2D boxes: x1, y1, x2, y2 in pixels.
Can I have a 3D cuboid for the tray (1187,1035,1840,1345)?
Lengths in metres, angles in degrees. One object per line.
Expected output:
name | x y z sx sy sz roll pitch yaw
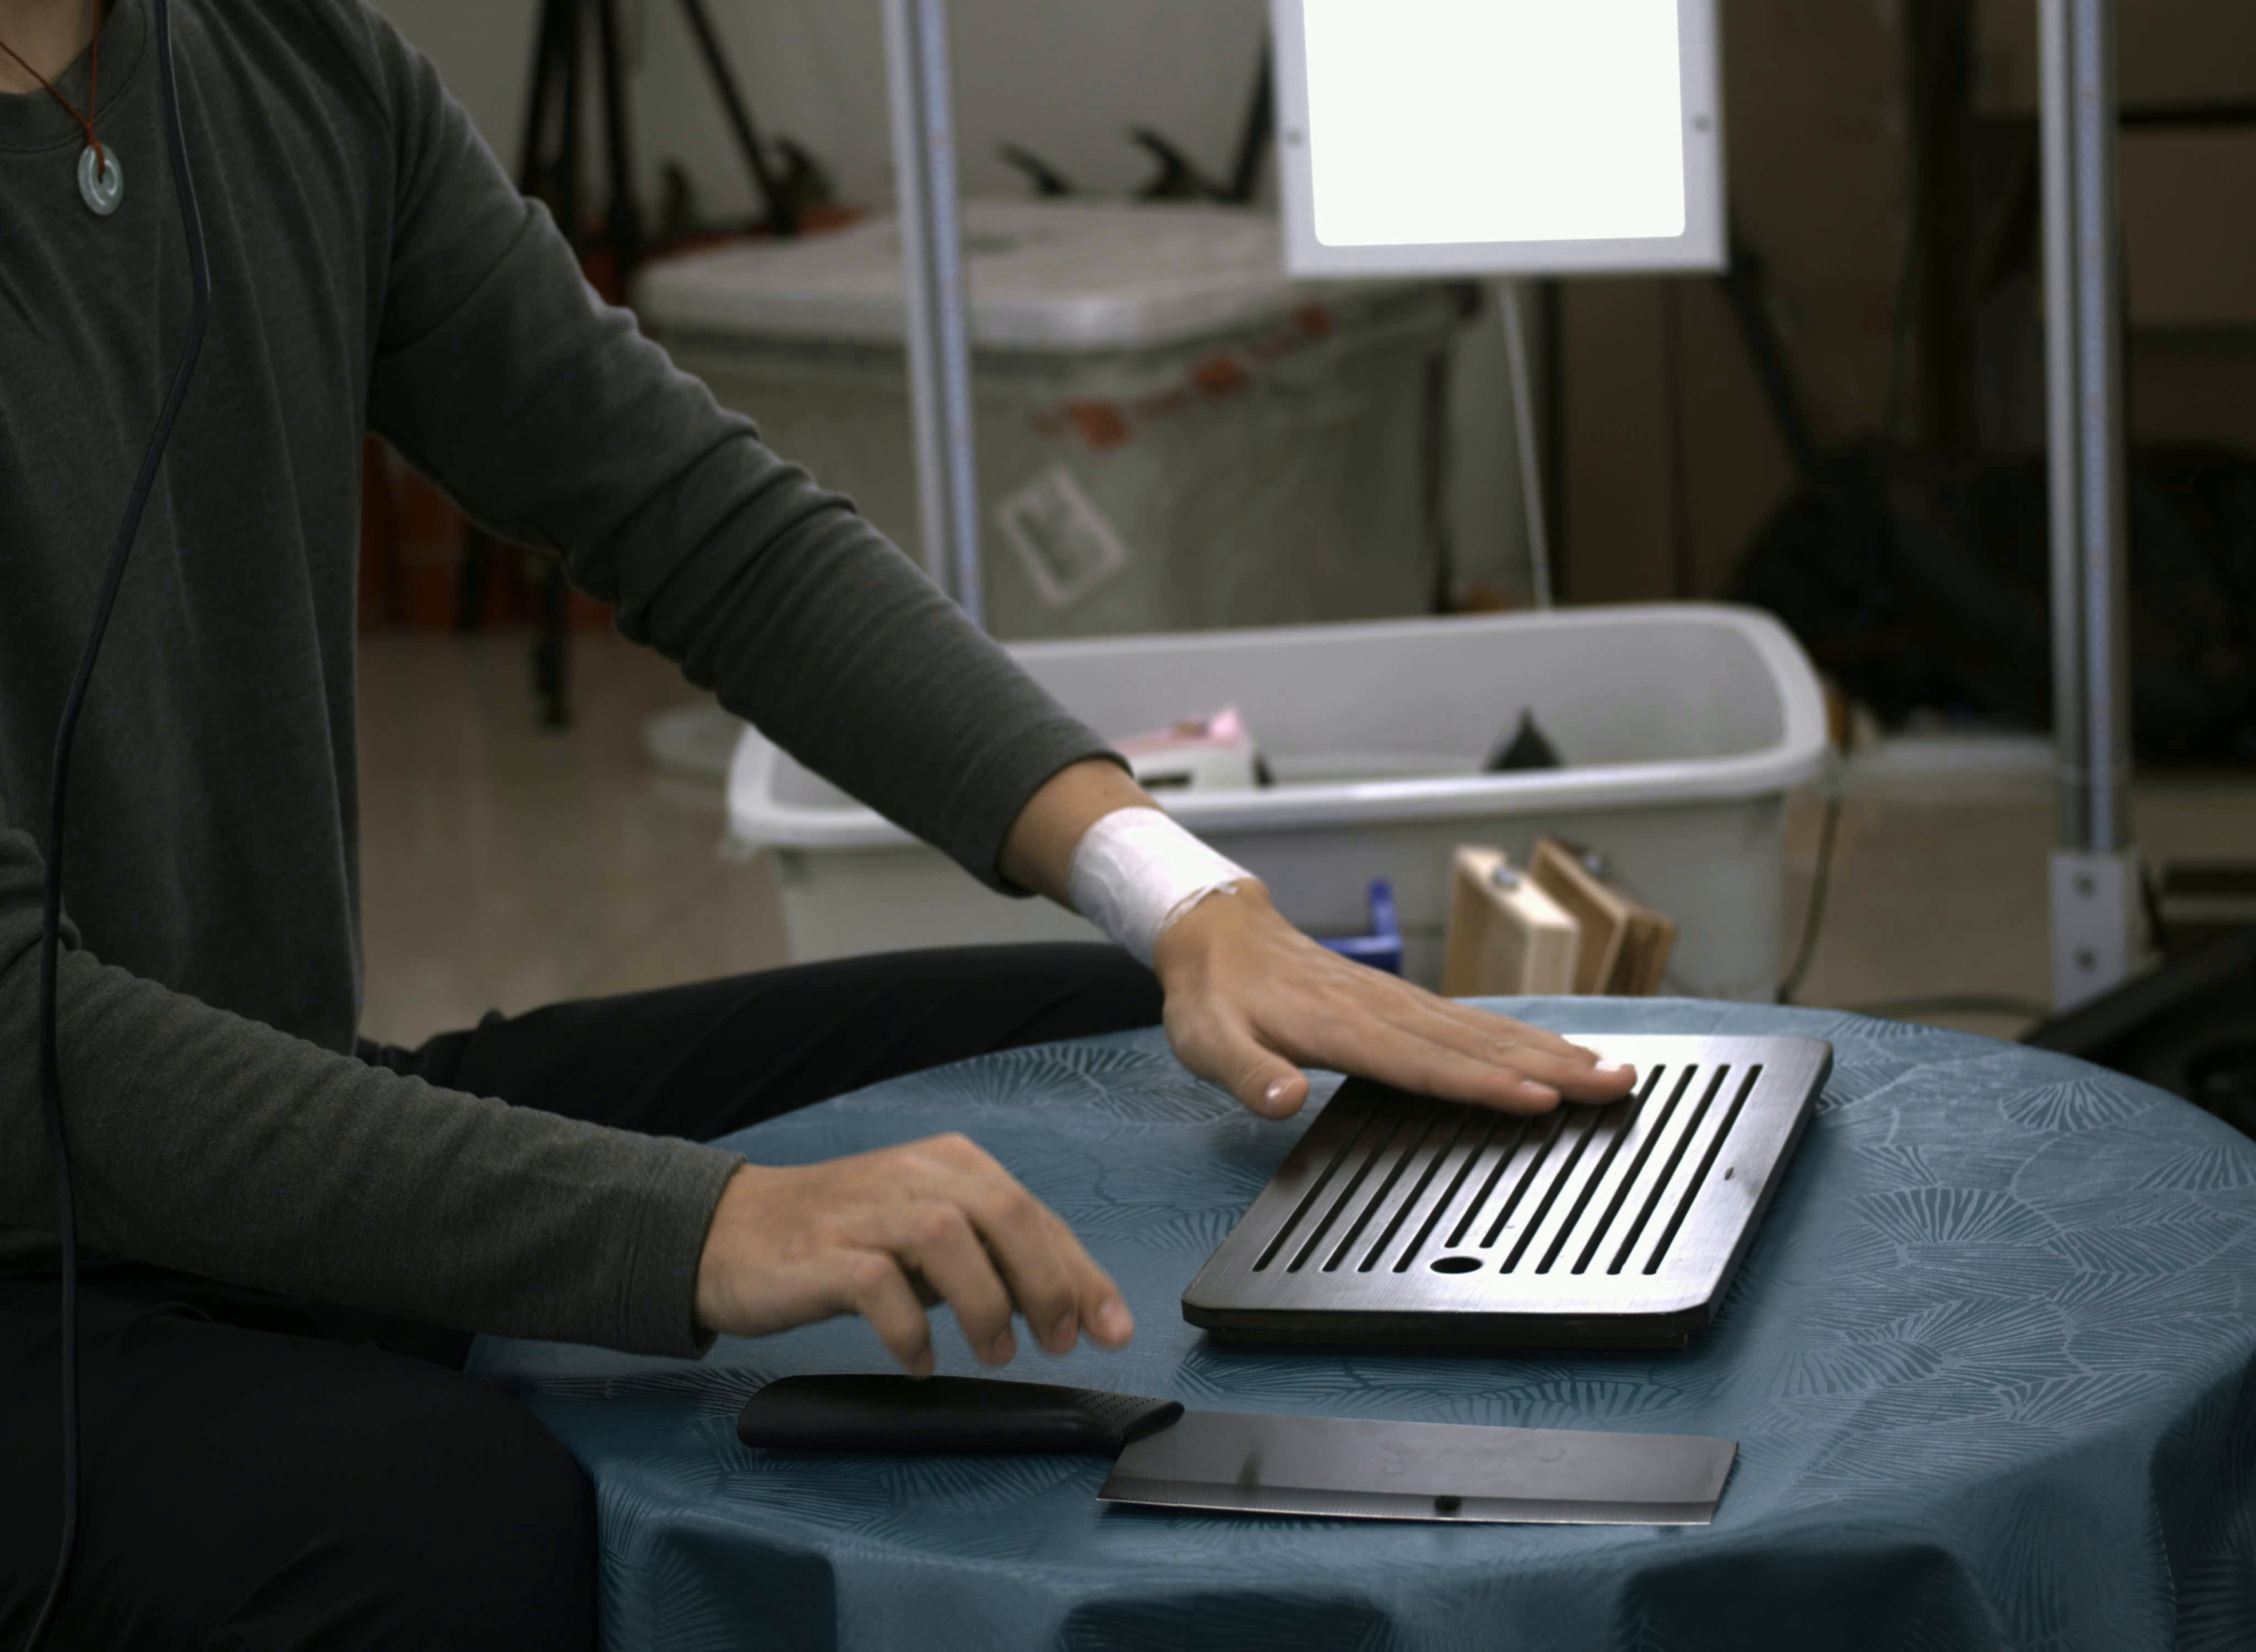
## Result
tray | 0.137 0.120 1.840 0.172 0.019 0.301 -2 14 17

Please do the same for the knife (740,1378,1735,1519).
knife | 0.029 0.185 1.625 0.306 0.021 0.079 2 17 21
